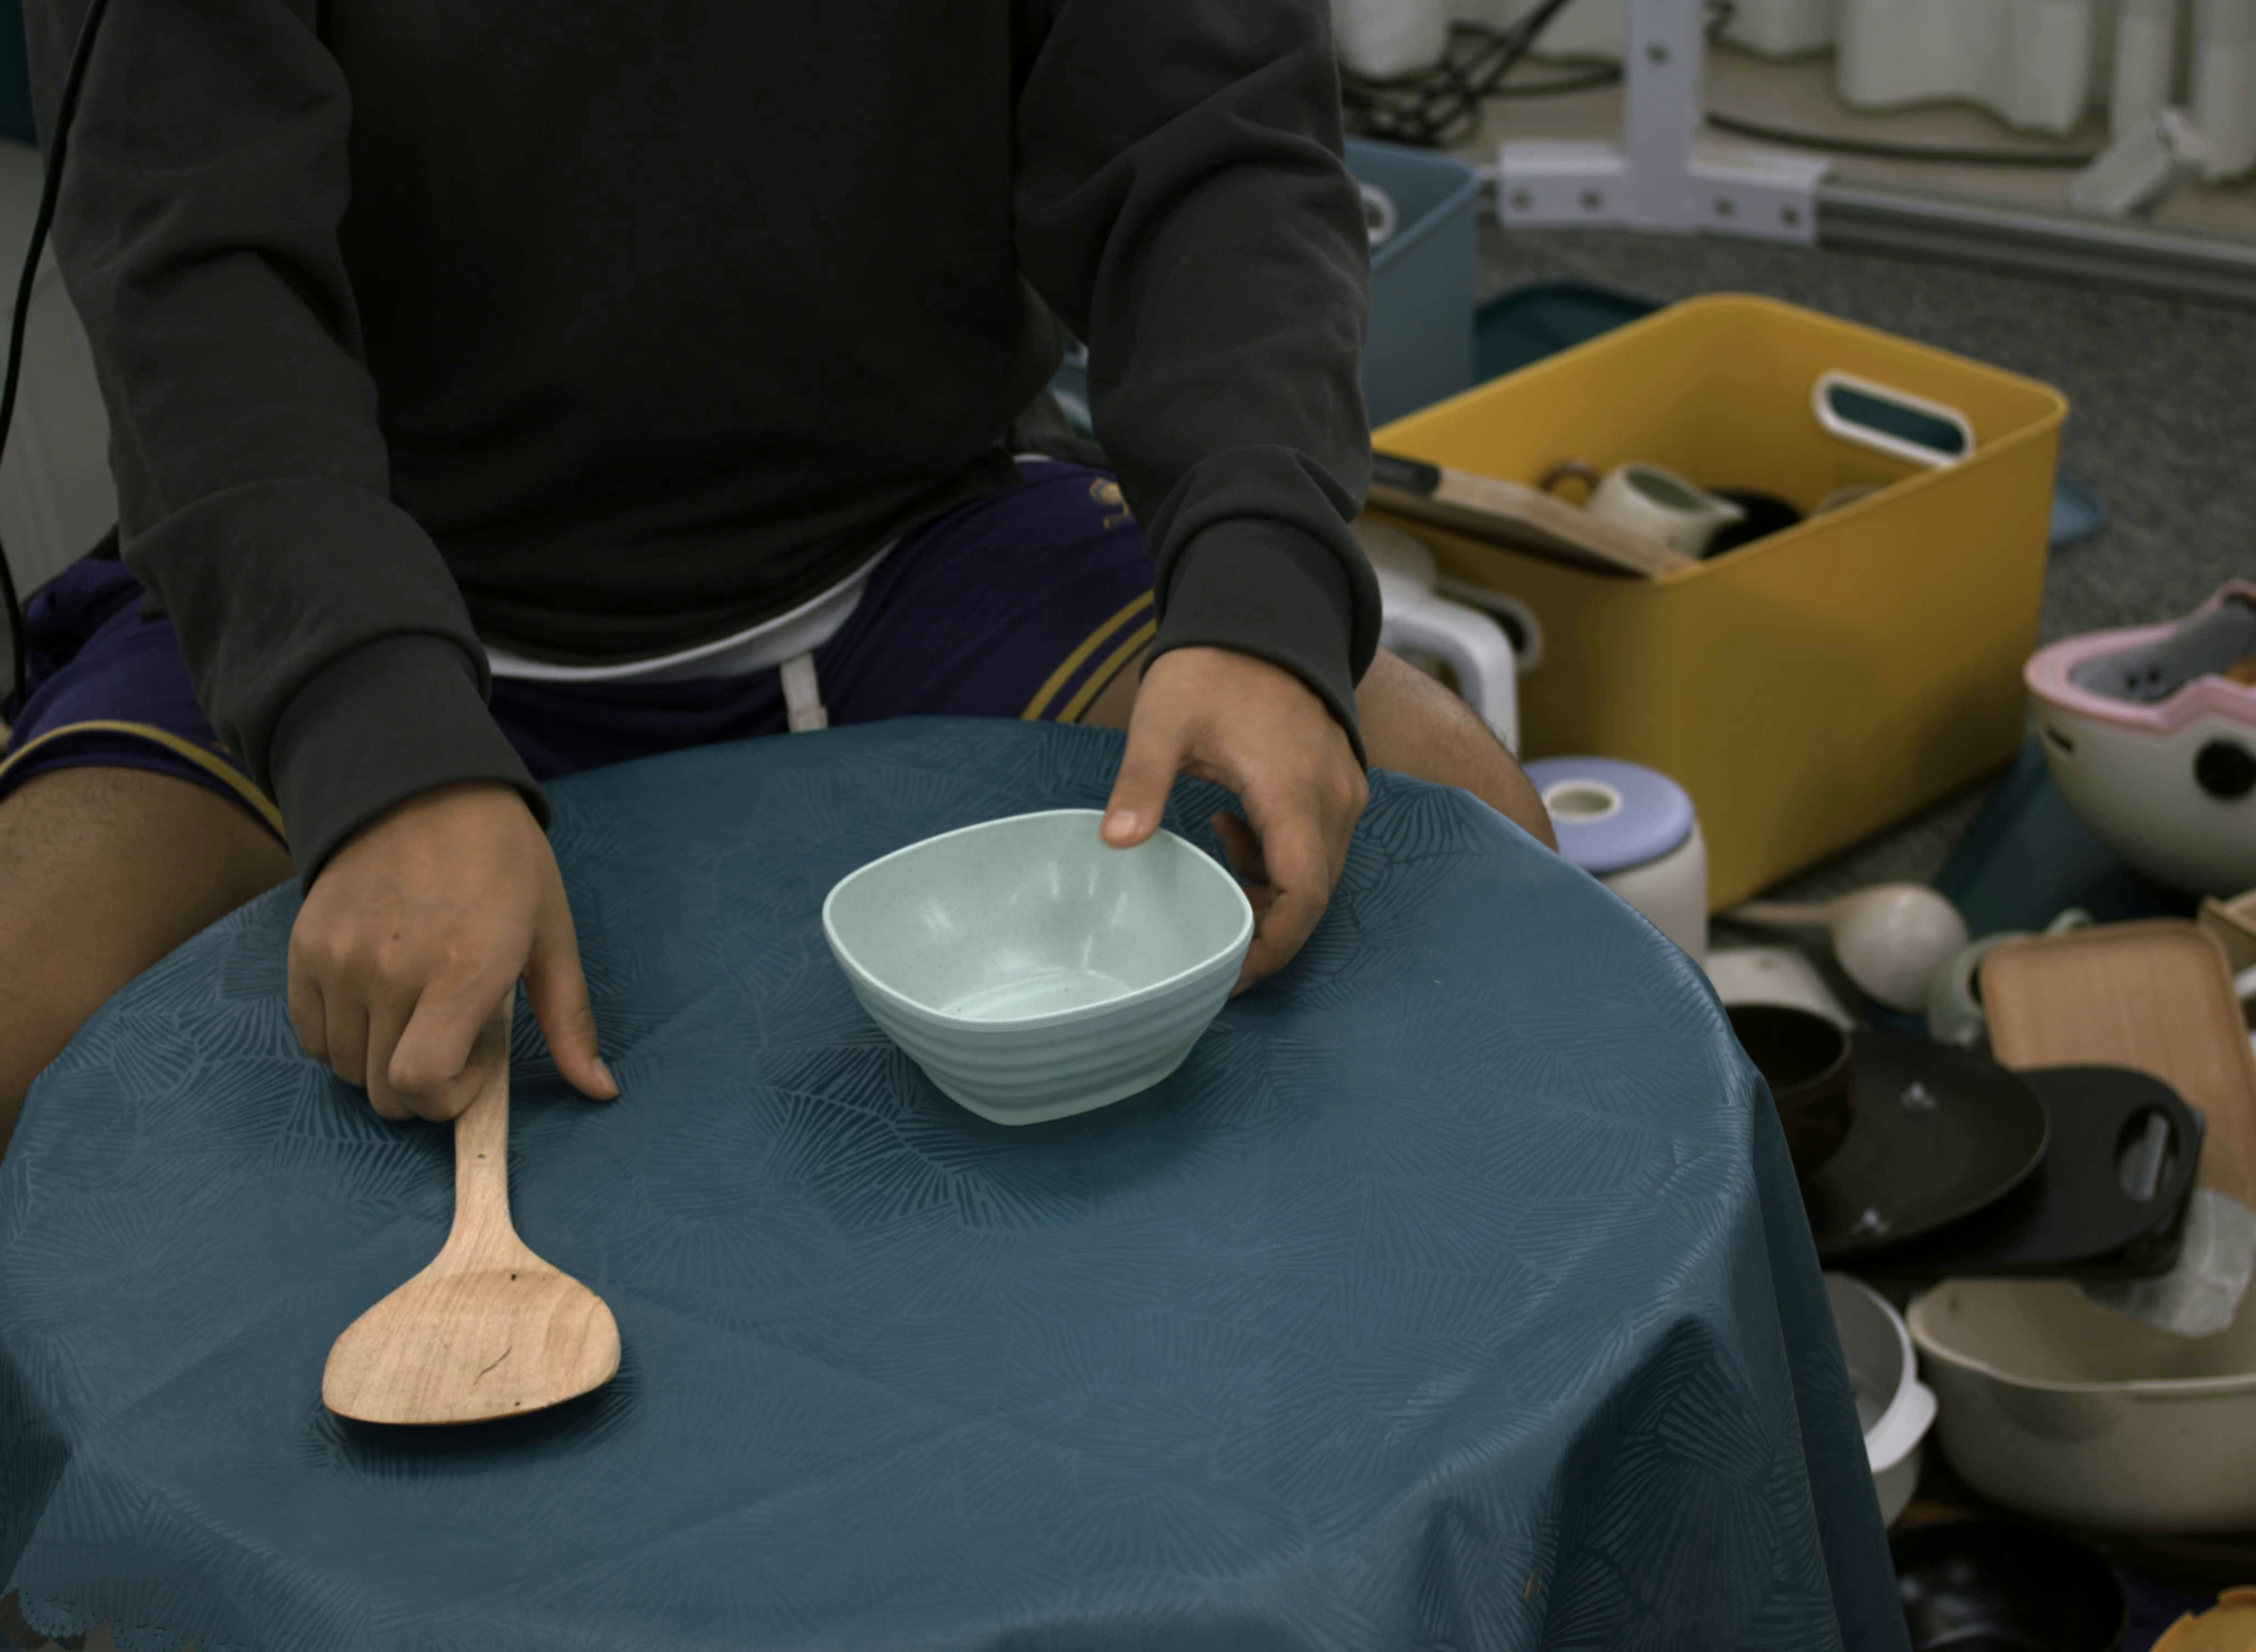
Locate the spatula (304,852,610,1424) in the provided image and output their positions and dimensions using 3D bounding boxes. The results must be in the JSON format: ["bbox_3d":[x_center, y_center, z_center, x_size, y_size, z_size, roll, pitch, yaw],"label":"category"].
[{"bbox_3d":[-0.226,0.100,1.908,0.095,0.018,0.396,-3,28,-4],"label":"spatula"}]

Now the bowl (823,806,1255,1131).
[{"bbox_3d":[-0.030,0.055,1.934,0.151,0.058,0.154,-1,29,1],"label":"bowl"}]
